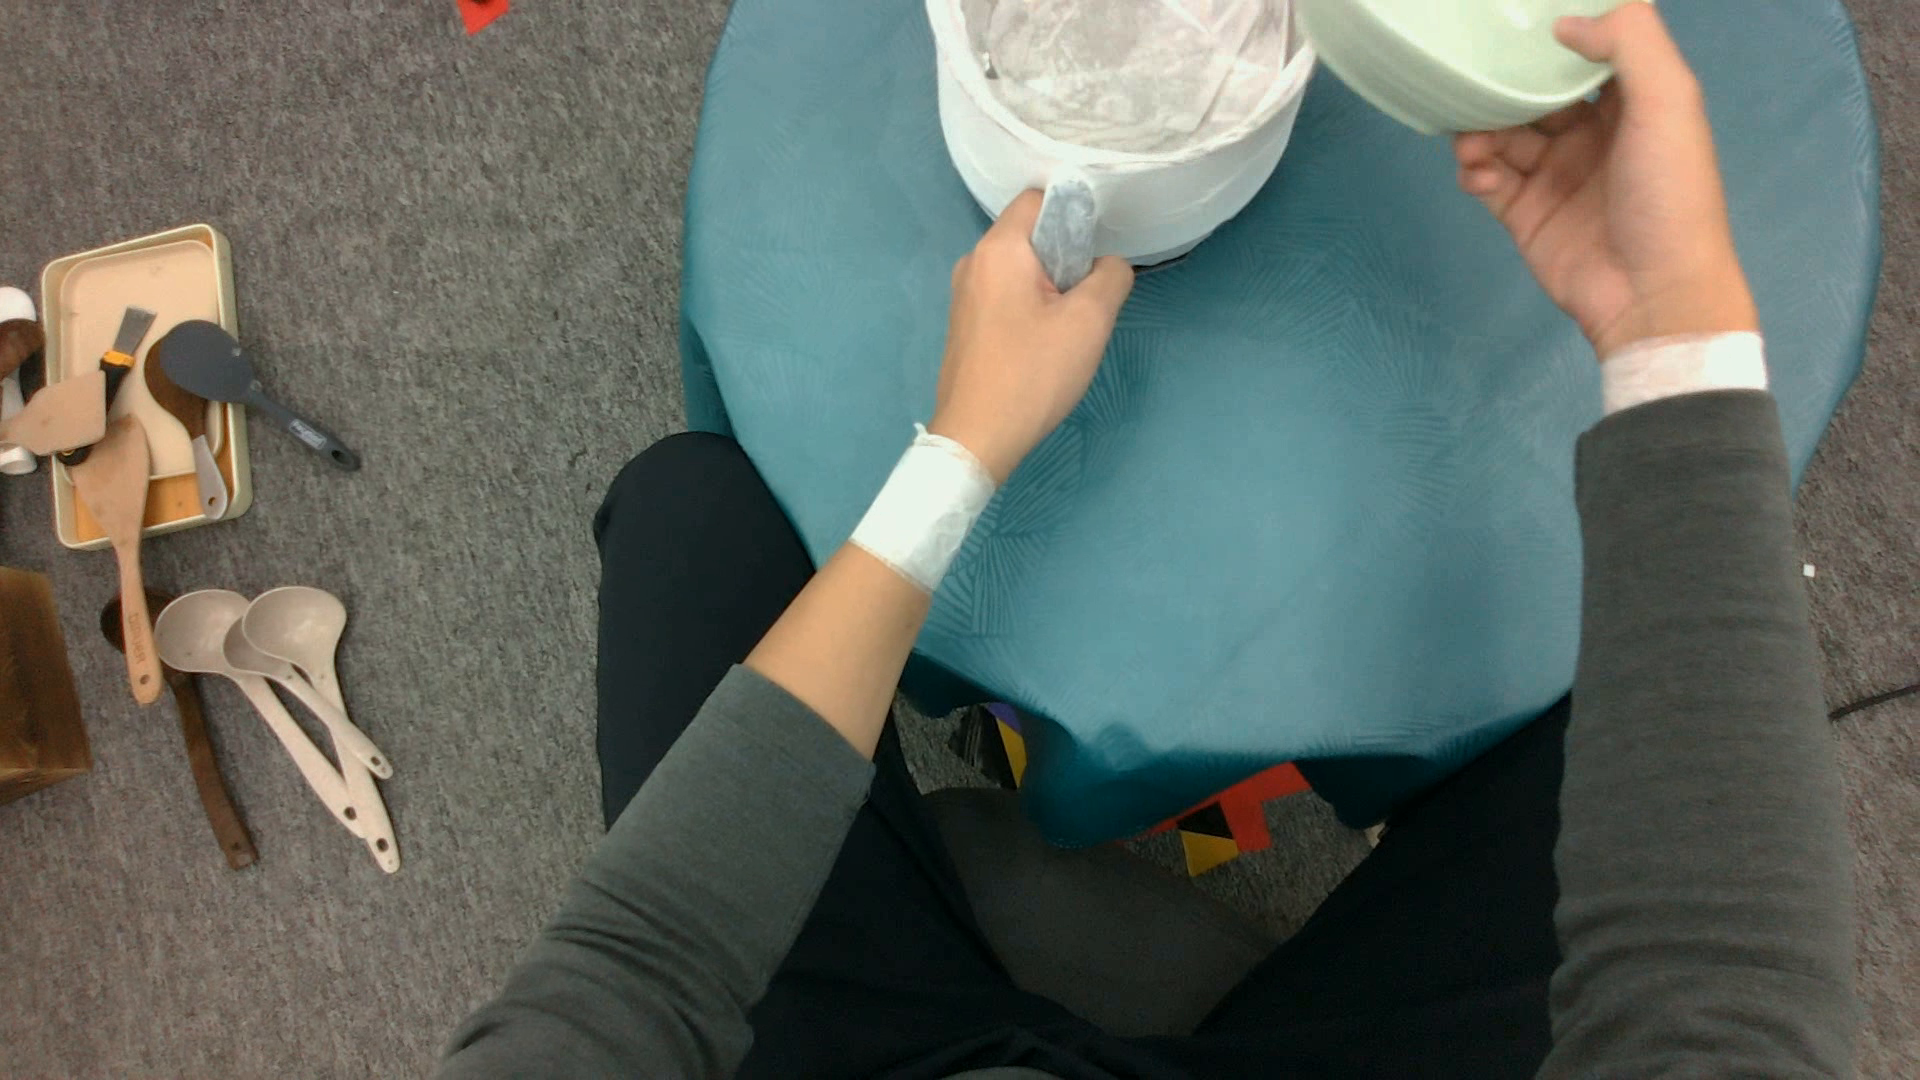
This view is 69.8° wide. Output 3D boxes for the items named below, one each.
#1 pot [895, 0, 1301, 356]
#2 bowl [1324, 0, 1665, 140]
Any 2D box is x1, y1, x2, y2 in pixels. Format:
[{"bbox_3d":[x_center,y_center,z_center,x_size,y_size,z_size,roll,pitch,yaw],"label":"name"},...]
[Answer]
[{"bbox_3d":[0.056,-0.208,0.647,0.178,0.136,0.234,12,81,6],"label":"pot"},{"bbox_3d":[0.202,-0.217,0.549,0.151,0.058,0.152,9,63,-19],"label":"bowl"}]
